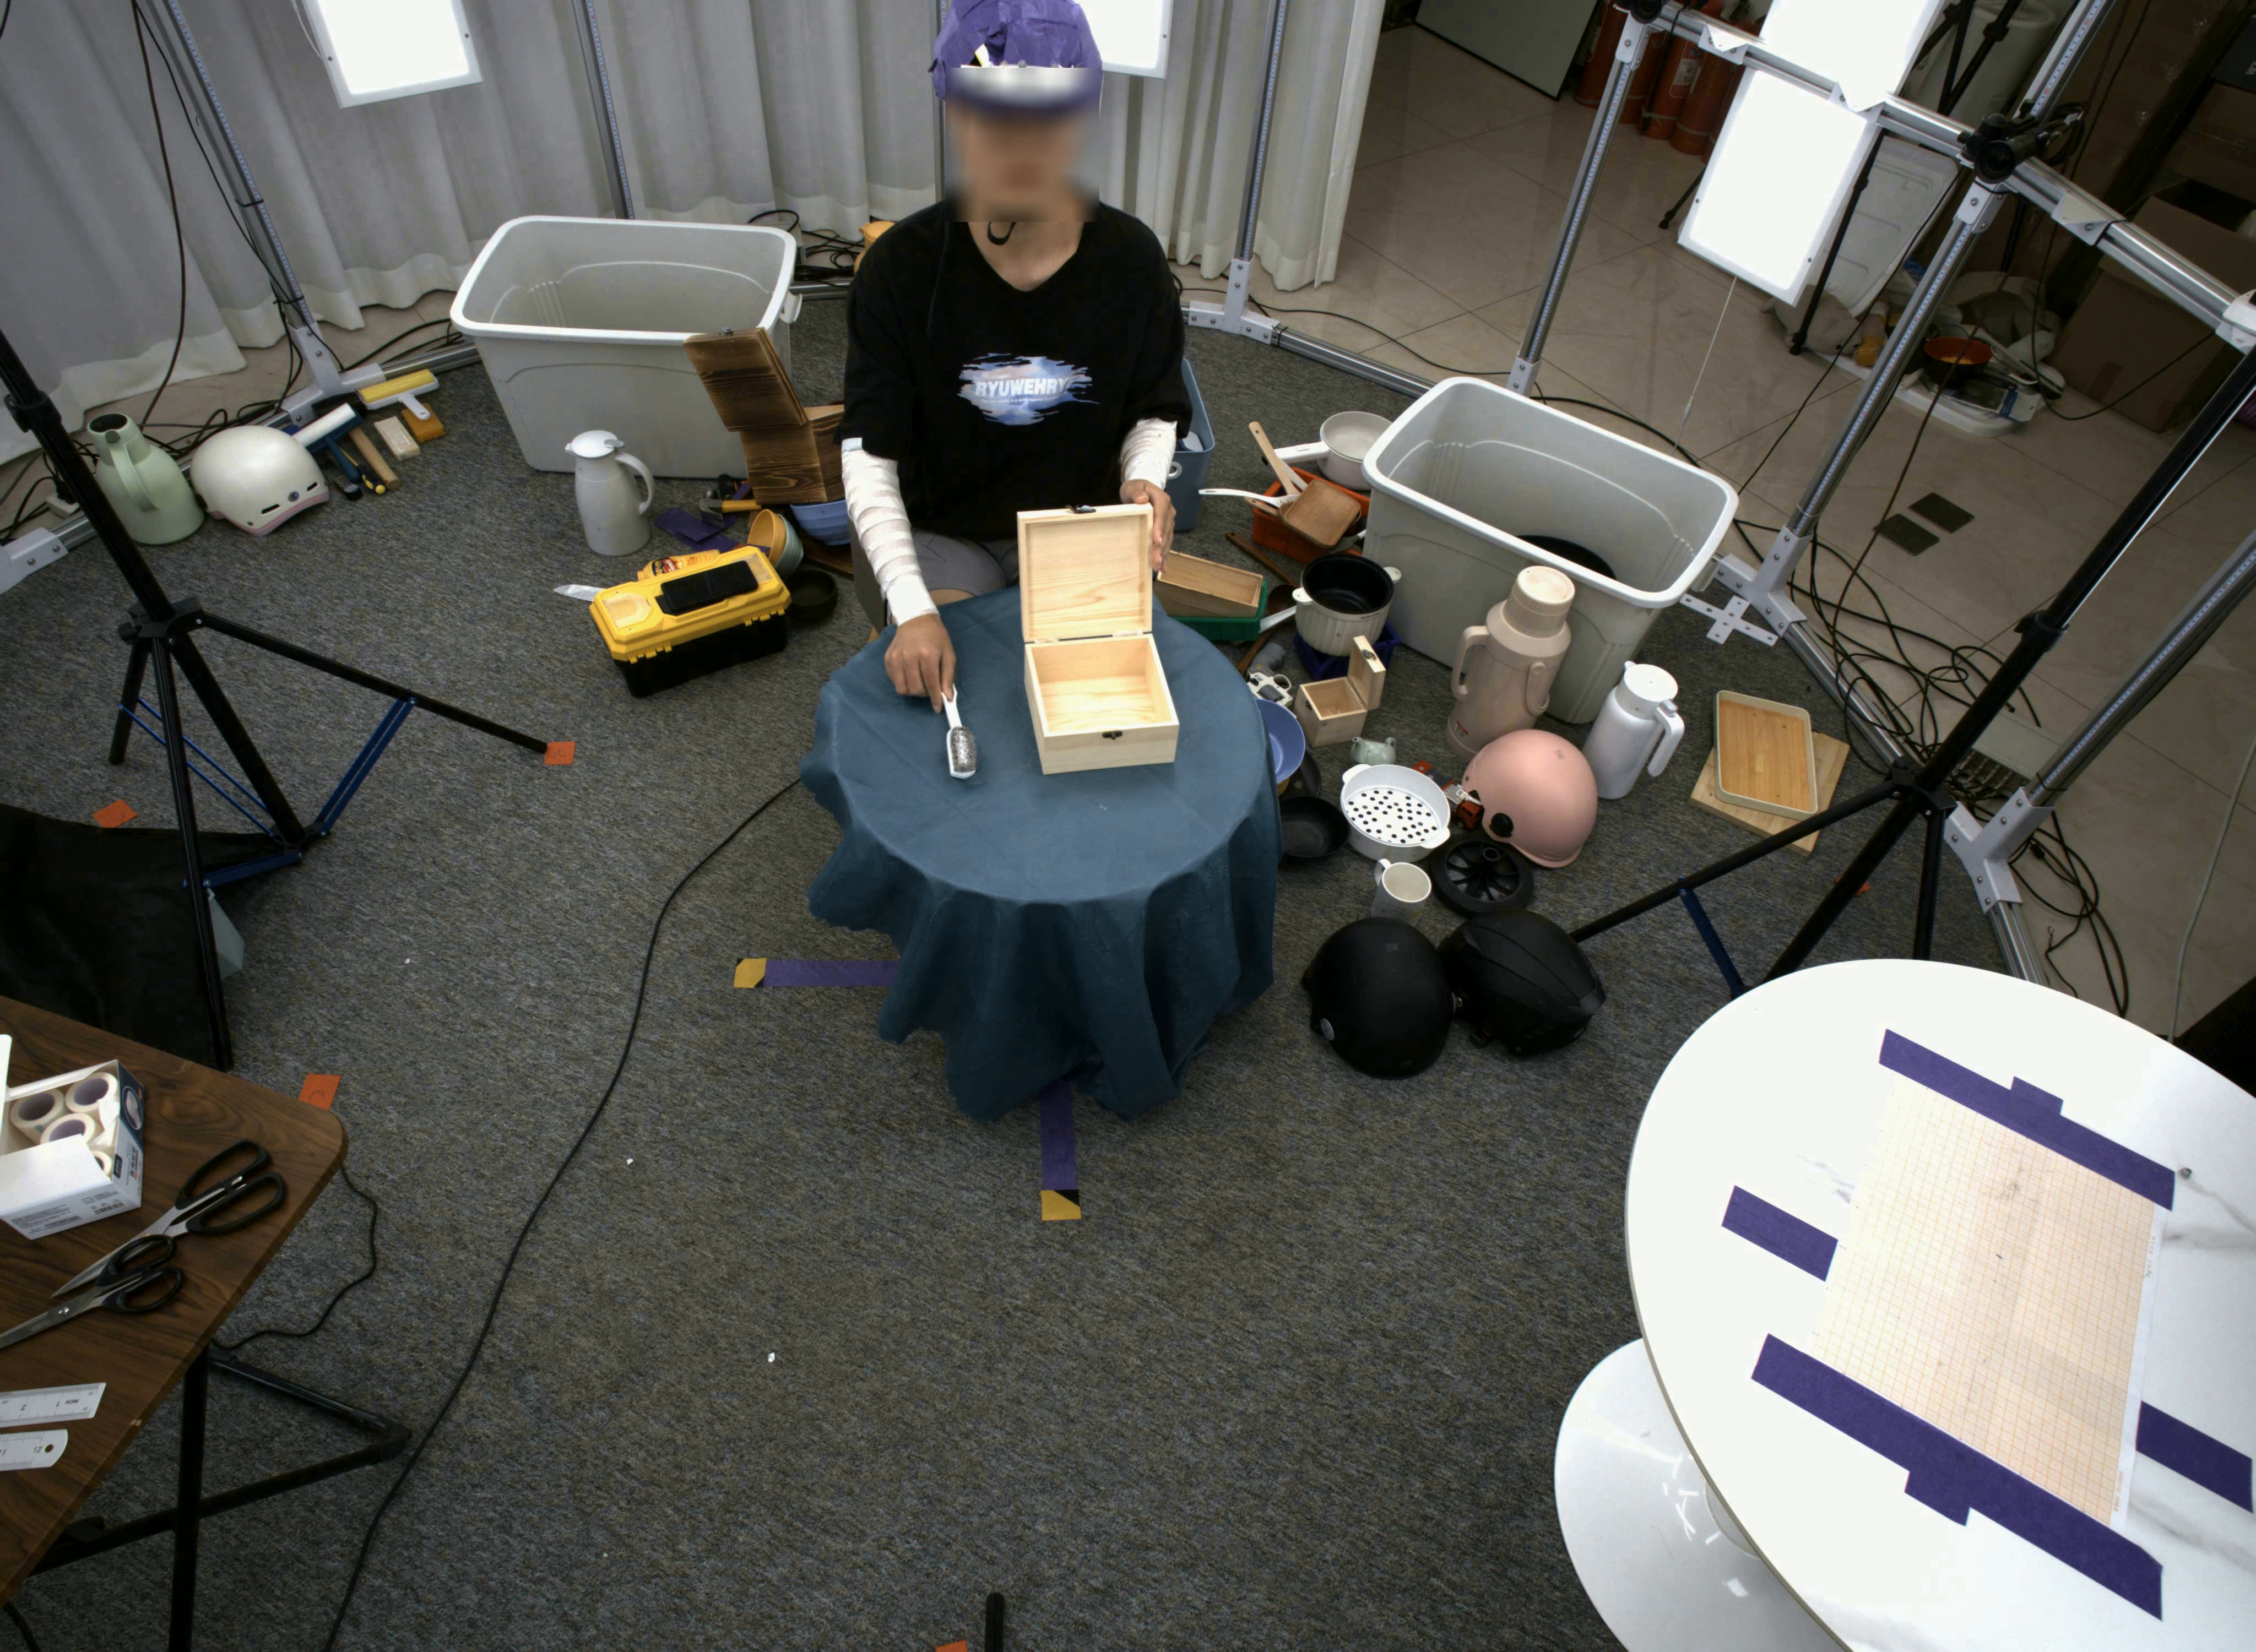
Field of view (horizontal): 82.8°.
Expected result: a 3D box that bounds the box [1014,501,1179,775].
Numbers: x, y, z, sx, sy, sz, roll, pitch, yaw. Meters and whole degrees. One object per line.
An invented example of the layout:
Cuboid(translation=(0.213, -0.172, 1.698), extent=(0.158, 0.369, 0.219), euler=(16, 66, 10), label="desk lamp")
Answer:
Cuboid(translation=(-0.042, -0.252, 1.729), extent=(0.181, 0.247, 0.272), euler=(-8, 50, -8), label="box")

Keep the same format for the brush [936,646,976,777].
Cuboid(translation=(-0.238, -0.169, 1.763), extent=(0.034, 0.049, 0.249), euler=(-2, 53, -15), label="brush")
